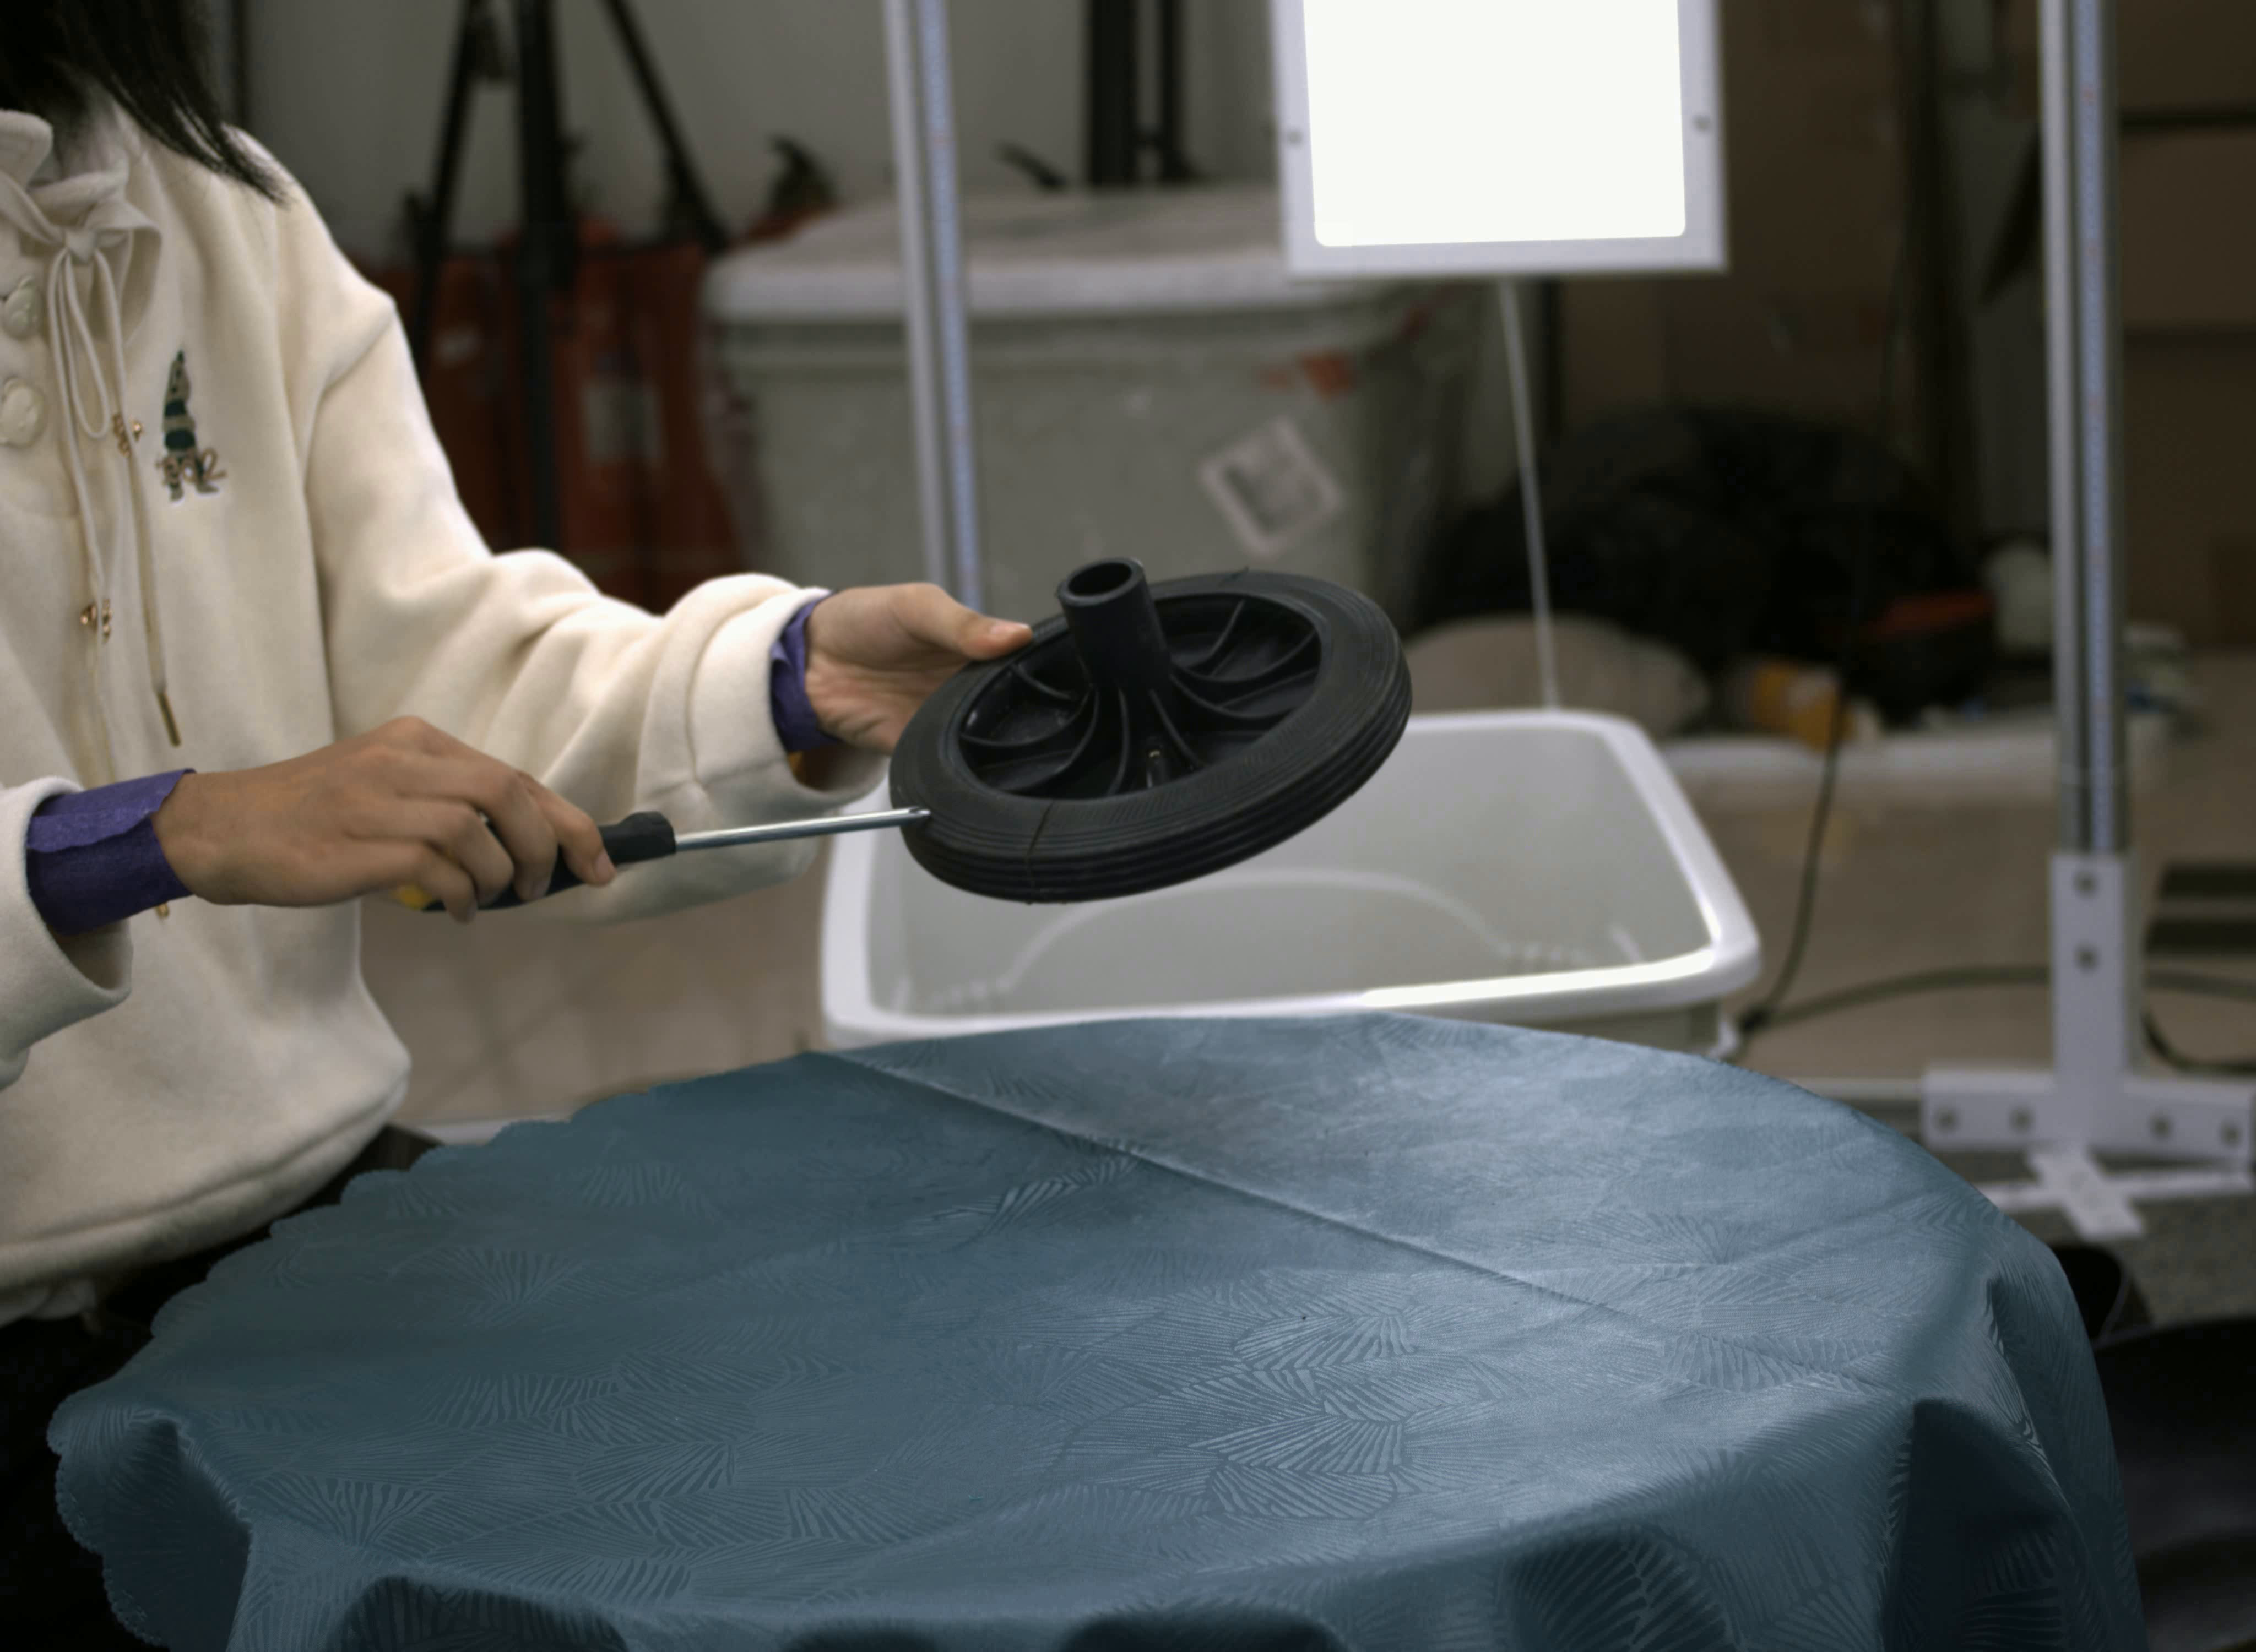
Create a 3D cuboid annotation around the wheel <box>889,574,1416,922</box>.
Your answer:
[{"bbox_3d":[0.003,-0.046,1.918,0.185,0.079,0.192,-28,33,-15],"label":"wheel"}]

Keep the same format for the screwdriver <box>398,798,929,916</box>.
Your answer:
[{"bbox_3d":[-0.155,0.006,1.861,0.191,0.031,0.032,-9,14,-30],"label":"screwdriver"}]
